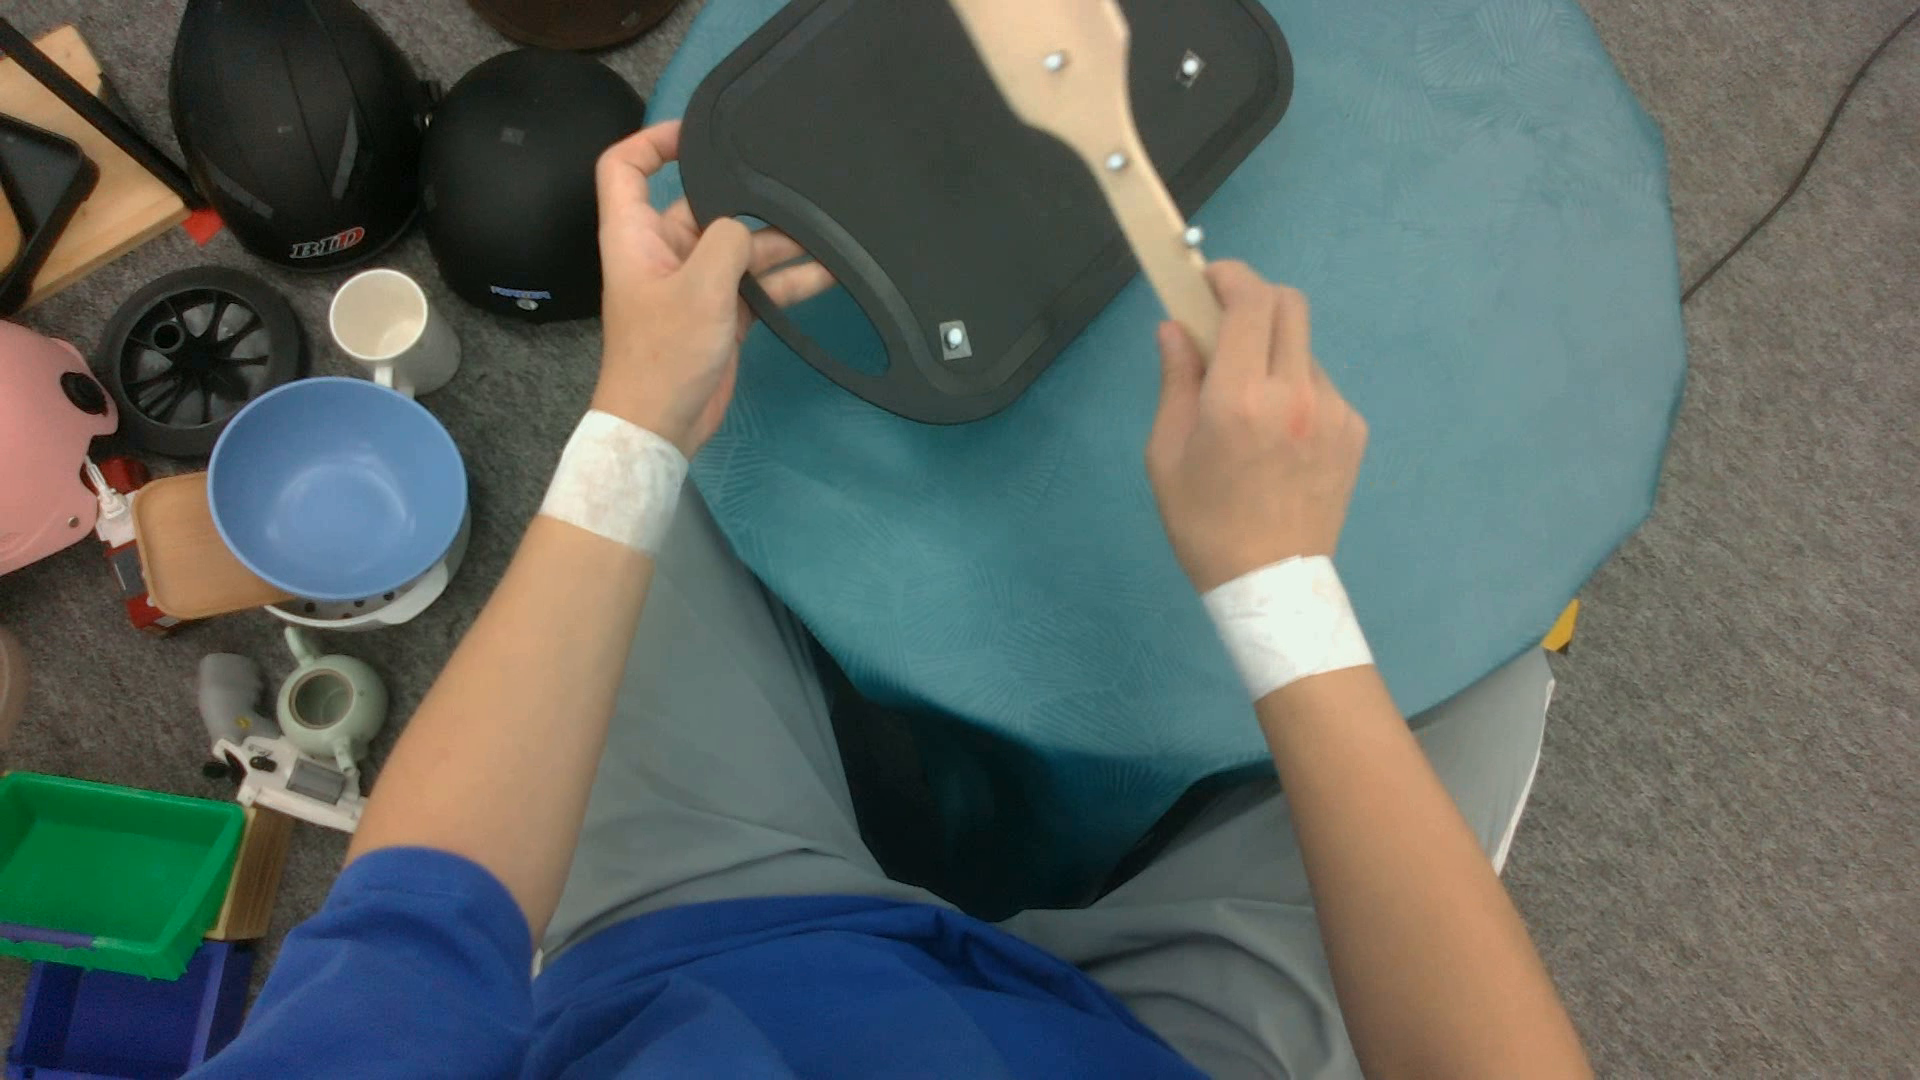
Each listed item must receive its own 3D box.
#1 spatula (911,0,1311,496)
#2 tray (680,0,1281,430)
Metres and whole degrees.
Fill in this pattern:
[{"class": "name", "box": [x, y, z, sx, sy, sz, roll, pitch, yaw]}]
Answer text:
[{"class": "spatula", "box": [0.077, -0.145, 0.636, 0.011, 0.072, 0.293, -35, 92, -41]}, {"class": "tray", "box": [0.018, -0.210, 0.702, 0.211, 0.010, 0.326, 45, 73, -8]}]
